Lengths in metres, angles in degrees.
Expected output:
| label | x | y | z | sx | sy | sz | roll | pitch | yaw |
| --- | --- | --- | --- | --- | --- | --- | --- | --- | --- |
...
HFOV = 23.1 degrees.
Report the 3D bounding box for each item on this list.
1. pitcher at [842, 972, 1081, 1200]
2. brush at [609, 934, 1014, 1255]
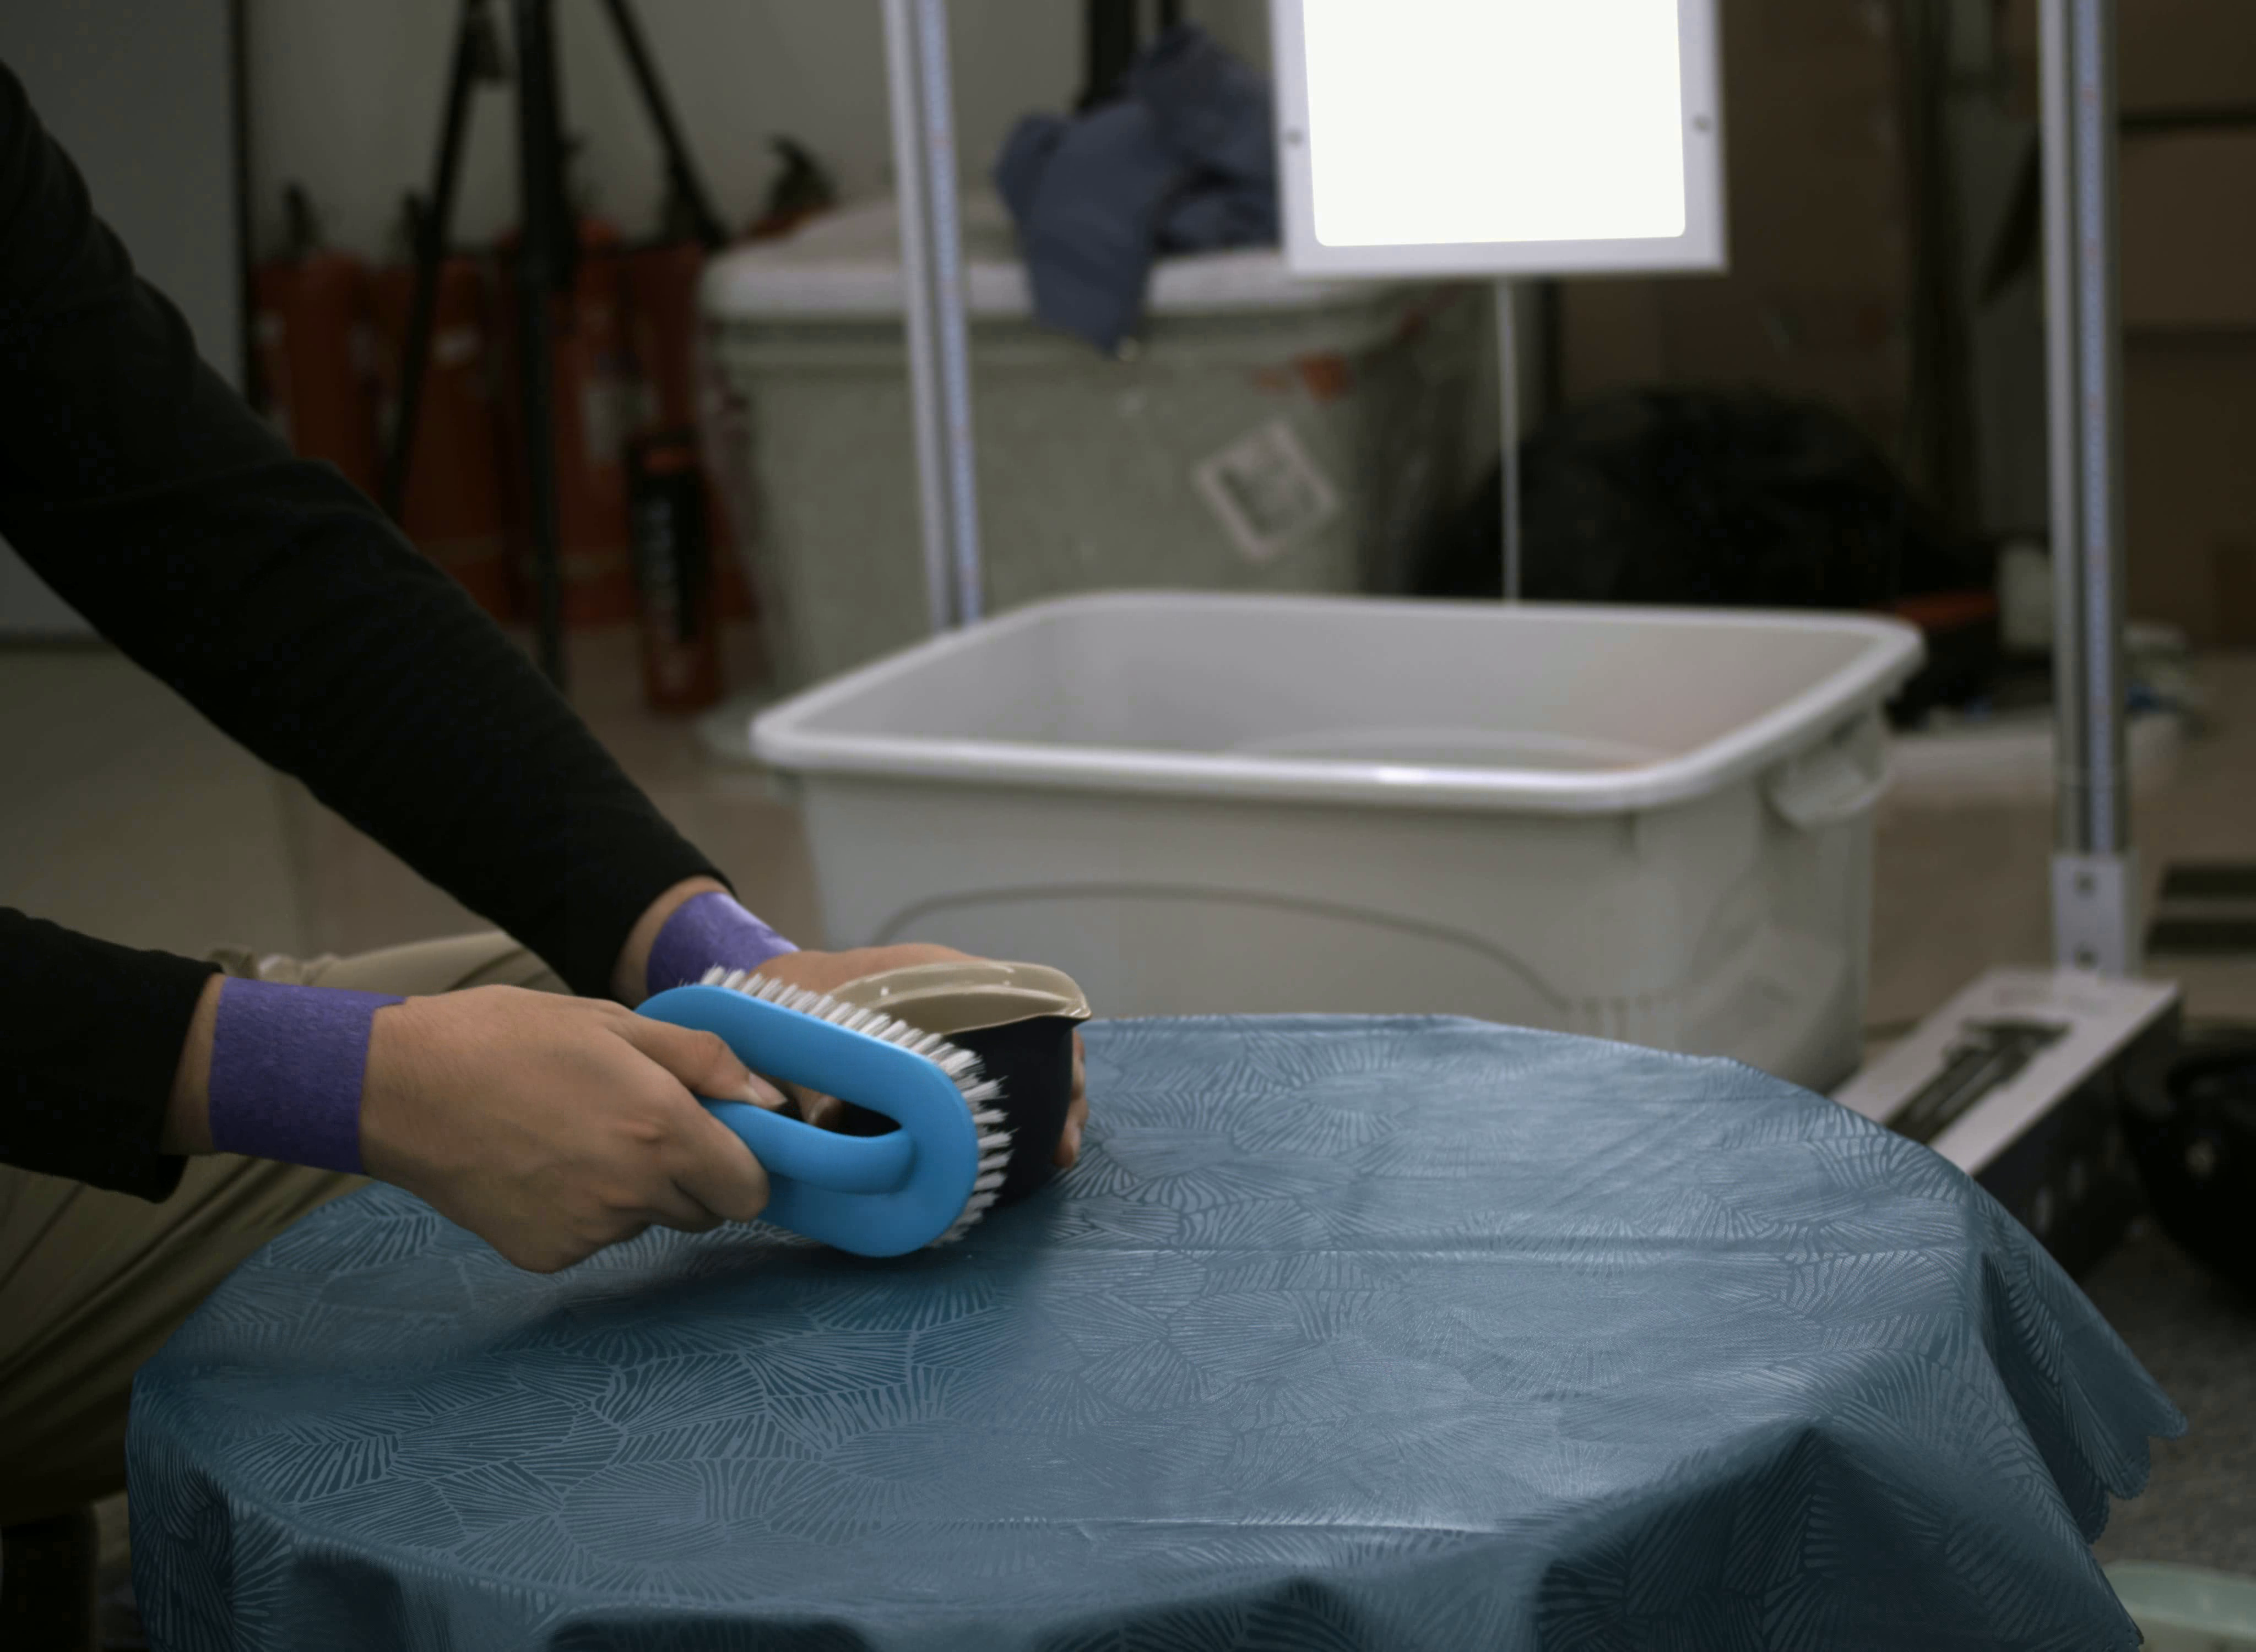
| label | x | y | z | sx | sy | sz | roll | pitch | yaw |
| --- | --- | --- | --- | --- | --- | --- | --- | --- | --- |
| pitcher | -0.057 | 0.089 | 1.907 | 0.098 | 0.071 | 0.081 | 8 | 15 | 35 |
| brush | -0.113 | 0.094 | 1.841 | 0.143 | 0.085 | 0.062 | 21 | 20 | 20 |
